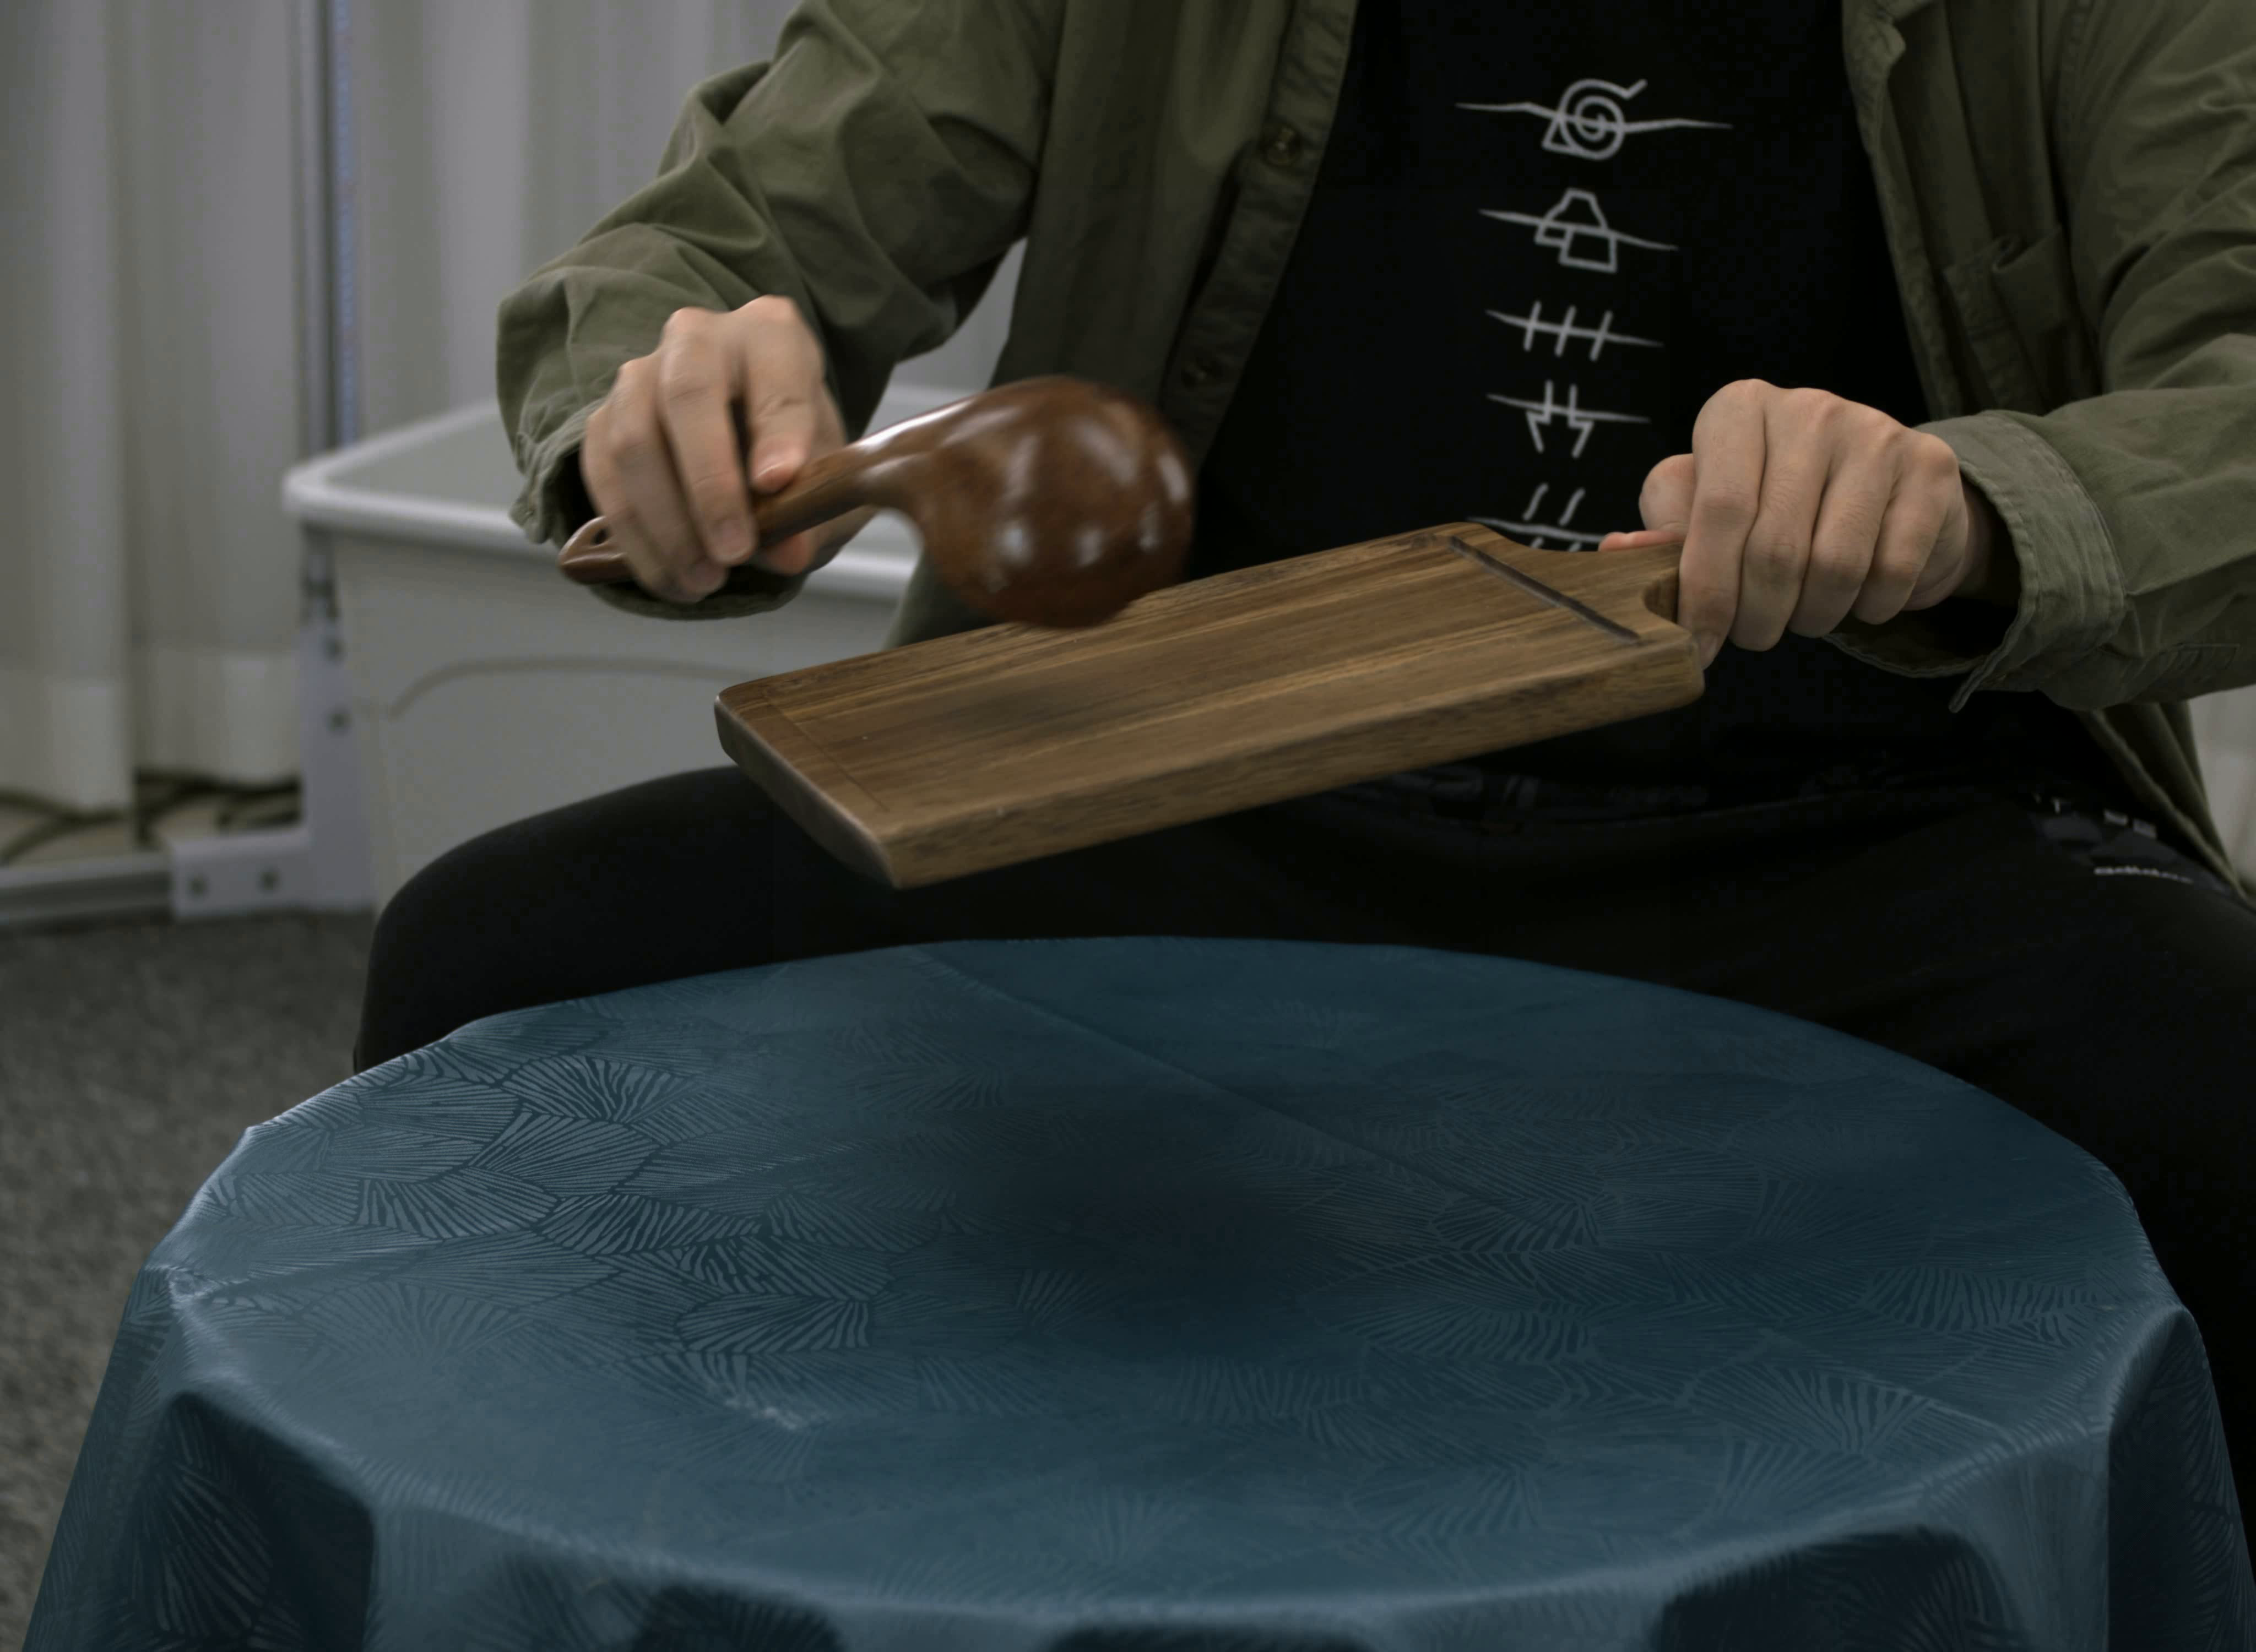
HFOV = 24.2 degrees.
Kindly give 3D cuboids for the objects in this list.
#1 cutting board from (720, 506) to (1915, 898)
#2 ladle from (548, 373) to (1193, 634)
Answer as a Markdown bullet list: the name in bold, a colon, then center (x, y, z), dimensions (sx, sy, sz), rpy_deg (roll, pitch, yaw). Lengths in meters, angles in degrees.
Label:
- **cutting board**: center (0.068, -0.047, 1.542), dimensions (0.352, 0.023, 0.199), rpy_deg (-13, 16, -13)
- **ladle**: center (-0.081, -0.084, 1.595), dimensions (0.272, 0.077, 0.082), rpy_deg (-11, 38, 55)
